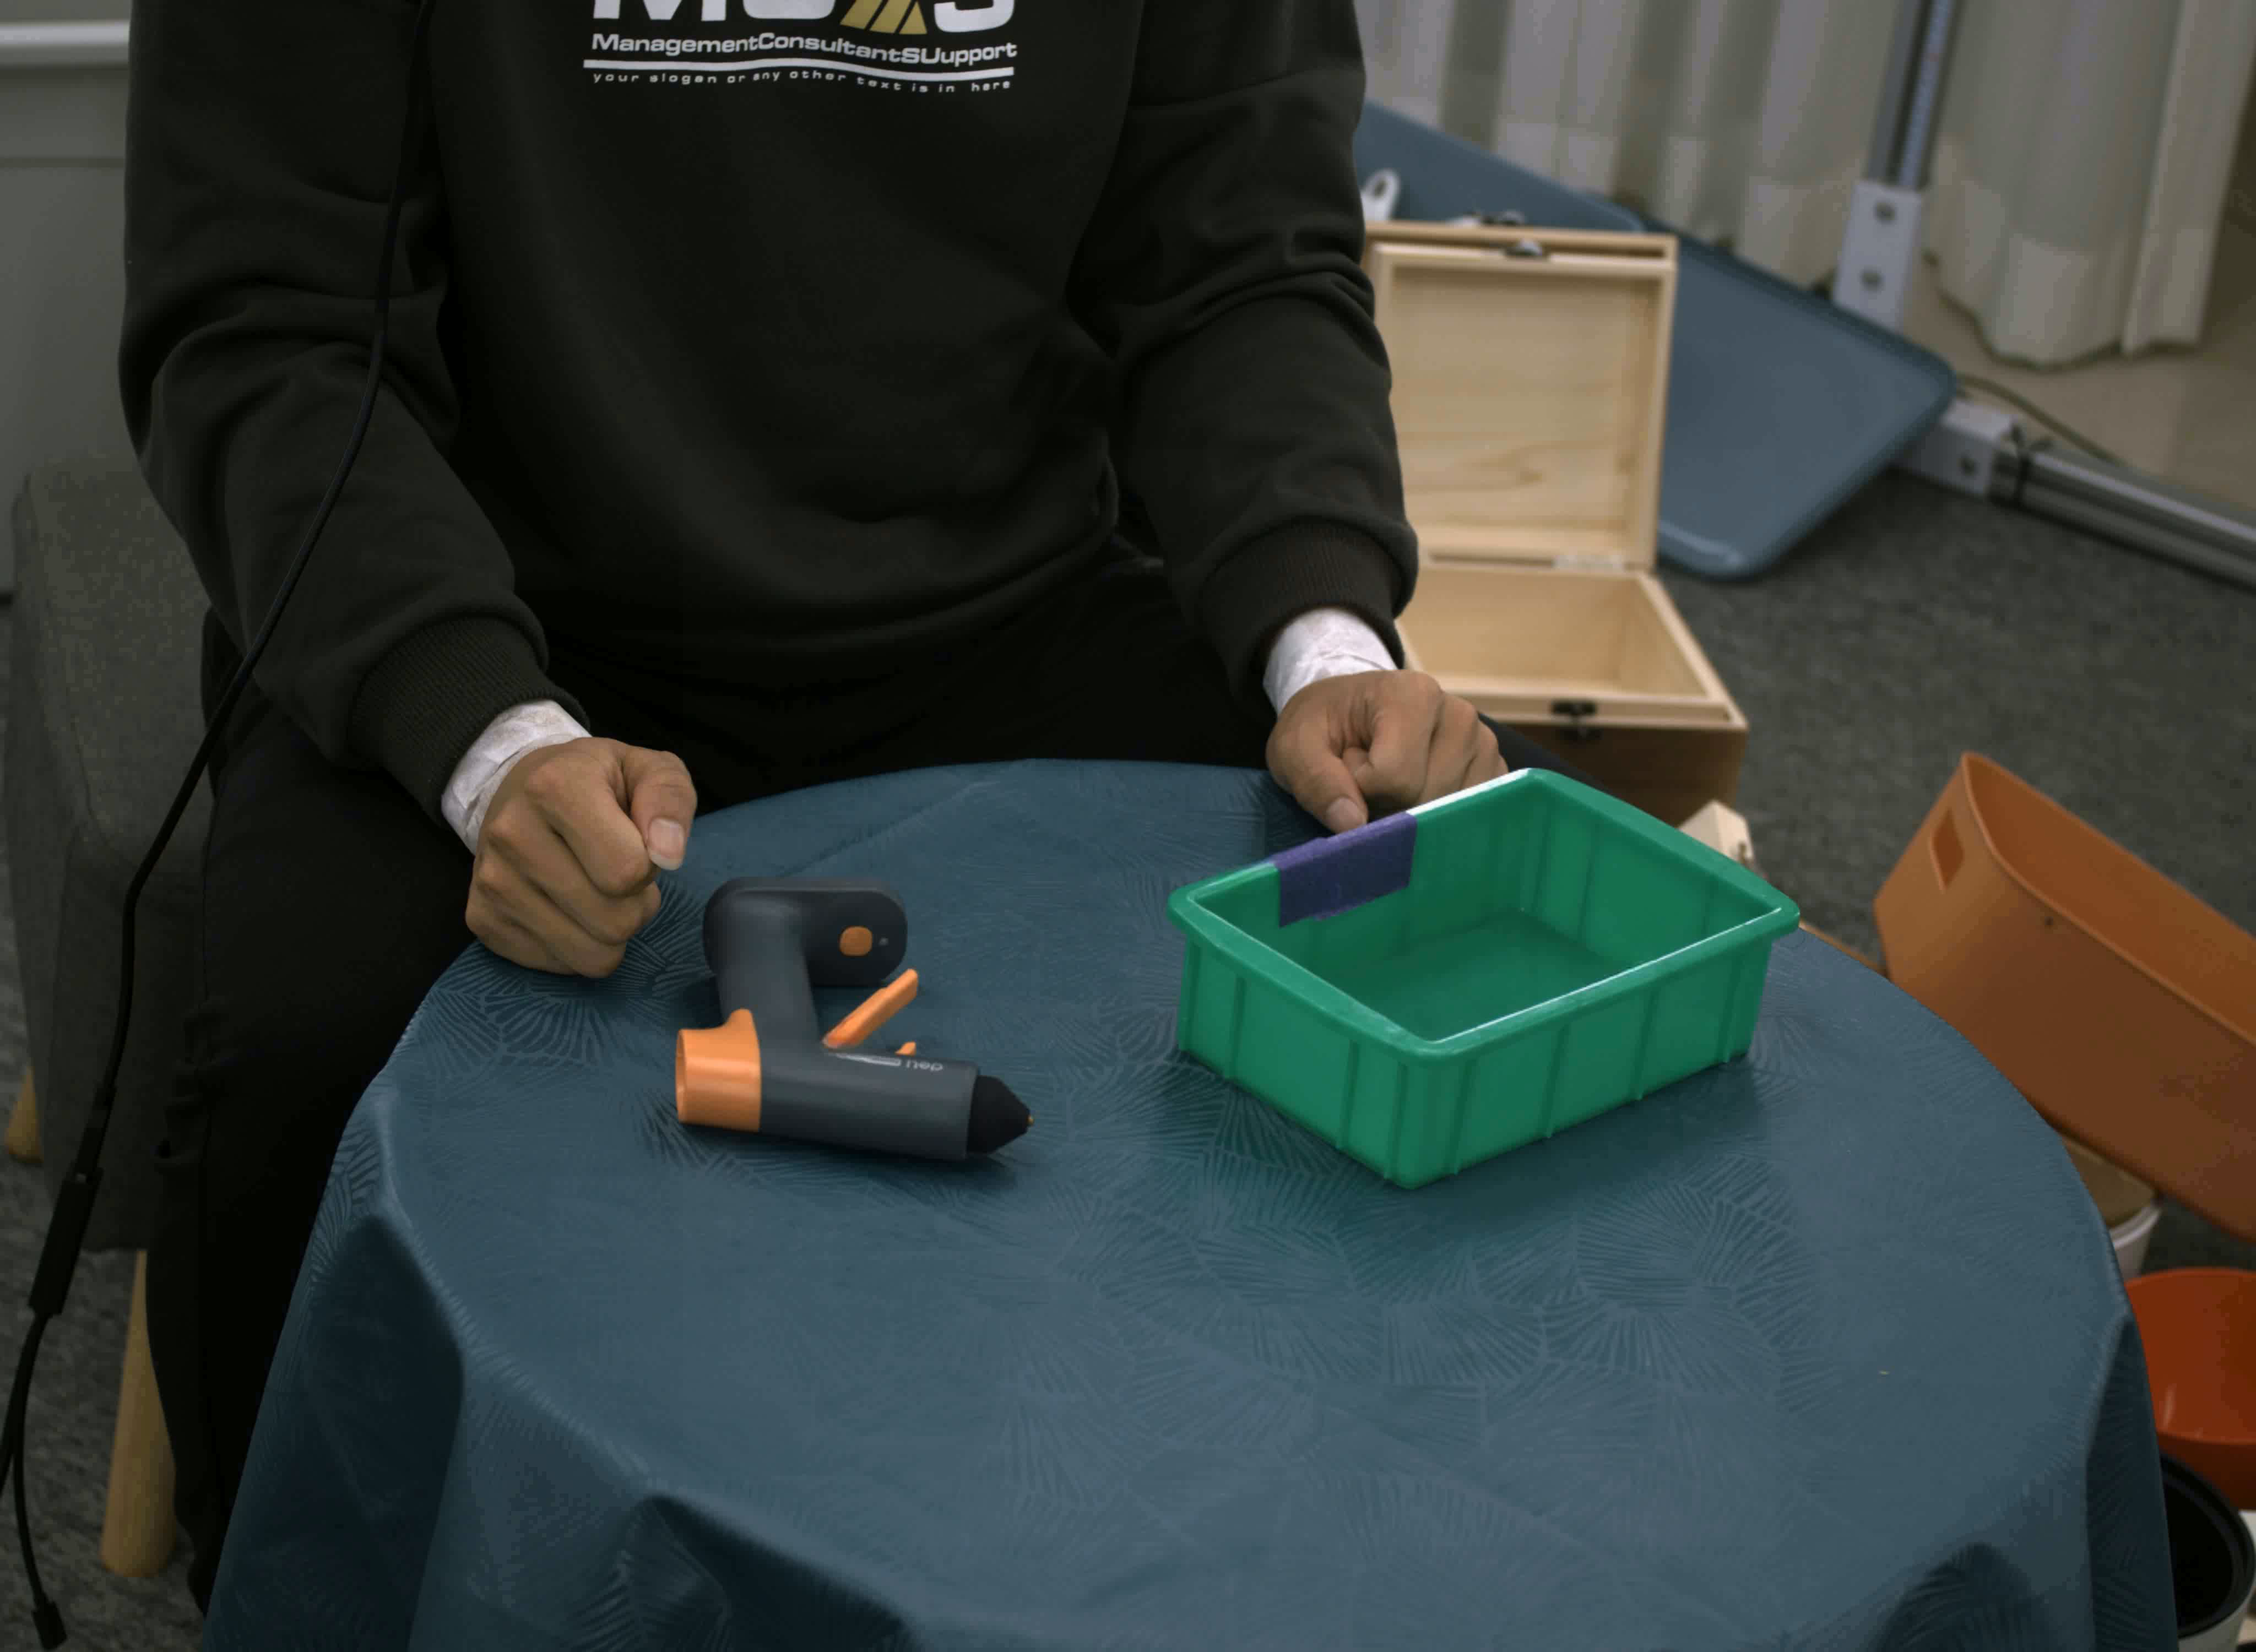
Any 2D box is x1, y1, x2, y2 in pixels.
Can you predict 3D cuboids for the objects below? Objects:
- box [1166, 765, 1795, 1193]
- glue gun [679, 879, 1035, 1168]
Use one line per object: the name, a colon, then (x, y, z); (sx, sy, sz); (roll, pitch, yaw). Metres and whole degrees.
box: (0.124, 0.055, 1.906); (0.209, 0.065, 0.140); (-21, 37, -39)
glue gun: (-0.099, 0.072, 1.855); (0.117, 0.041, 0.141); (2, 29, -13)
